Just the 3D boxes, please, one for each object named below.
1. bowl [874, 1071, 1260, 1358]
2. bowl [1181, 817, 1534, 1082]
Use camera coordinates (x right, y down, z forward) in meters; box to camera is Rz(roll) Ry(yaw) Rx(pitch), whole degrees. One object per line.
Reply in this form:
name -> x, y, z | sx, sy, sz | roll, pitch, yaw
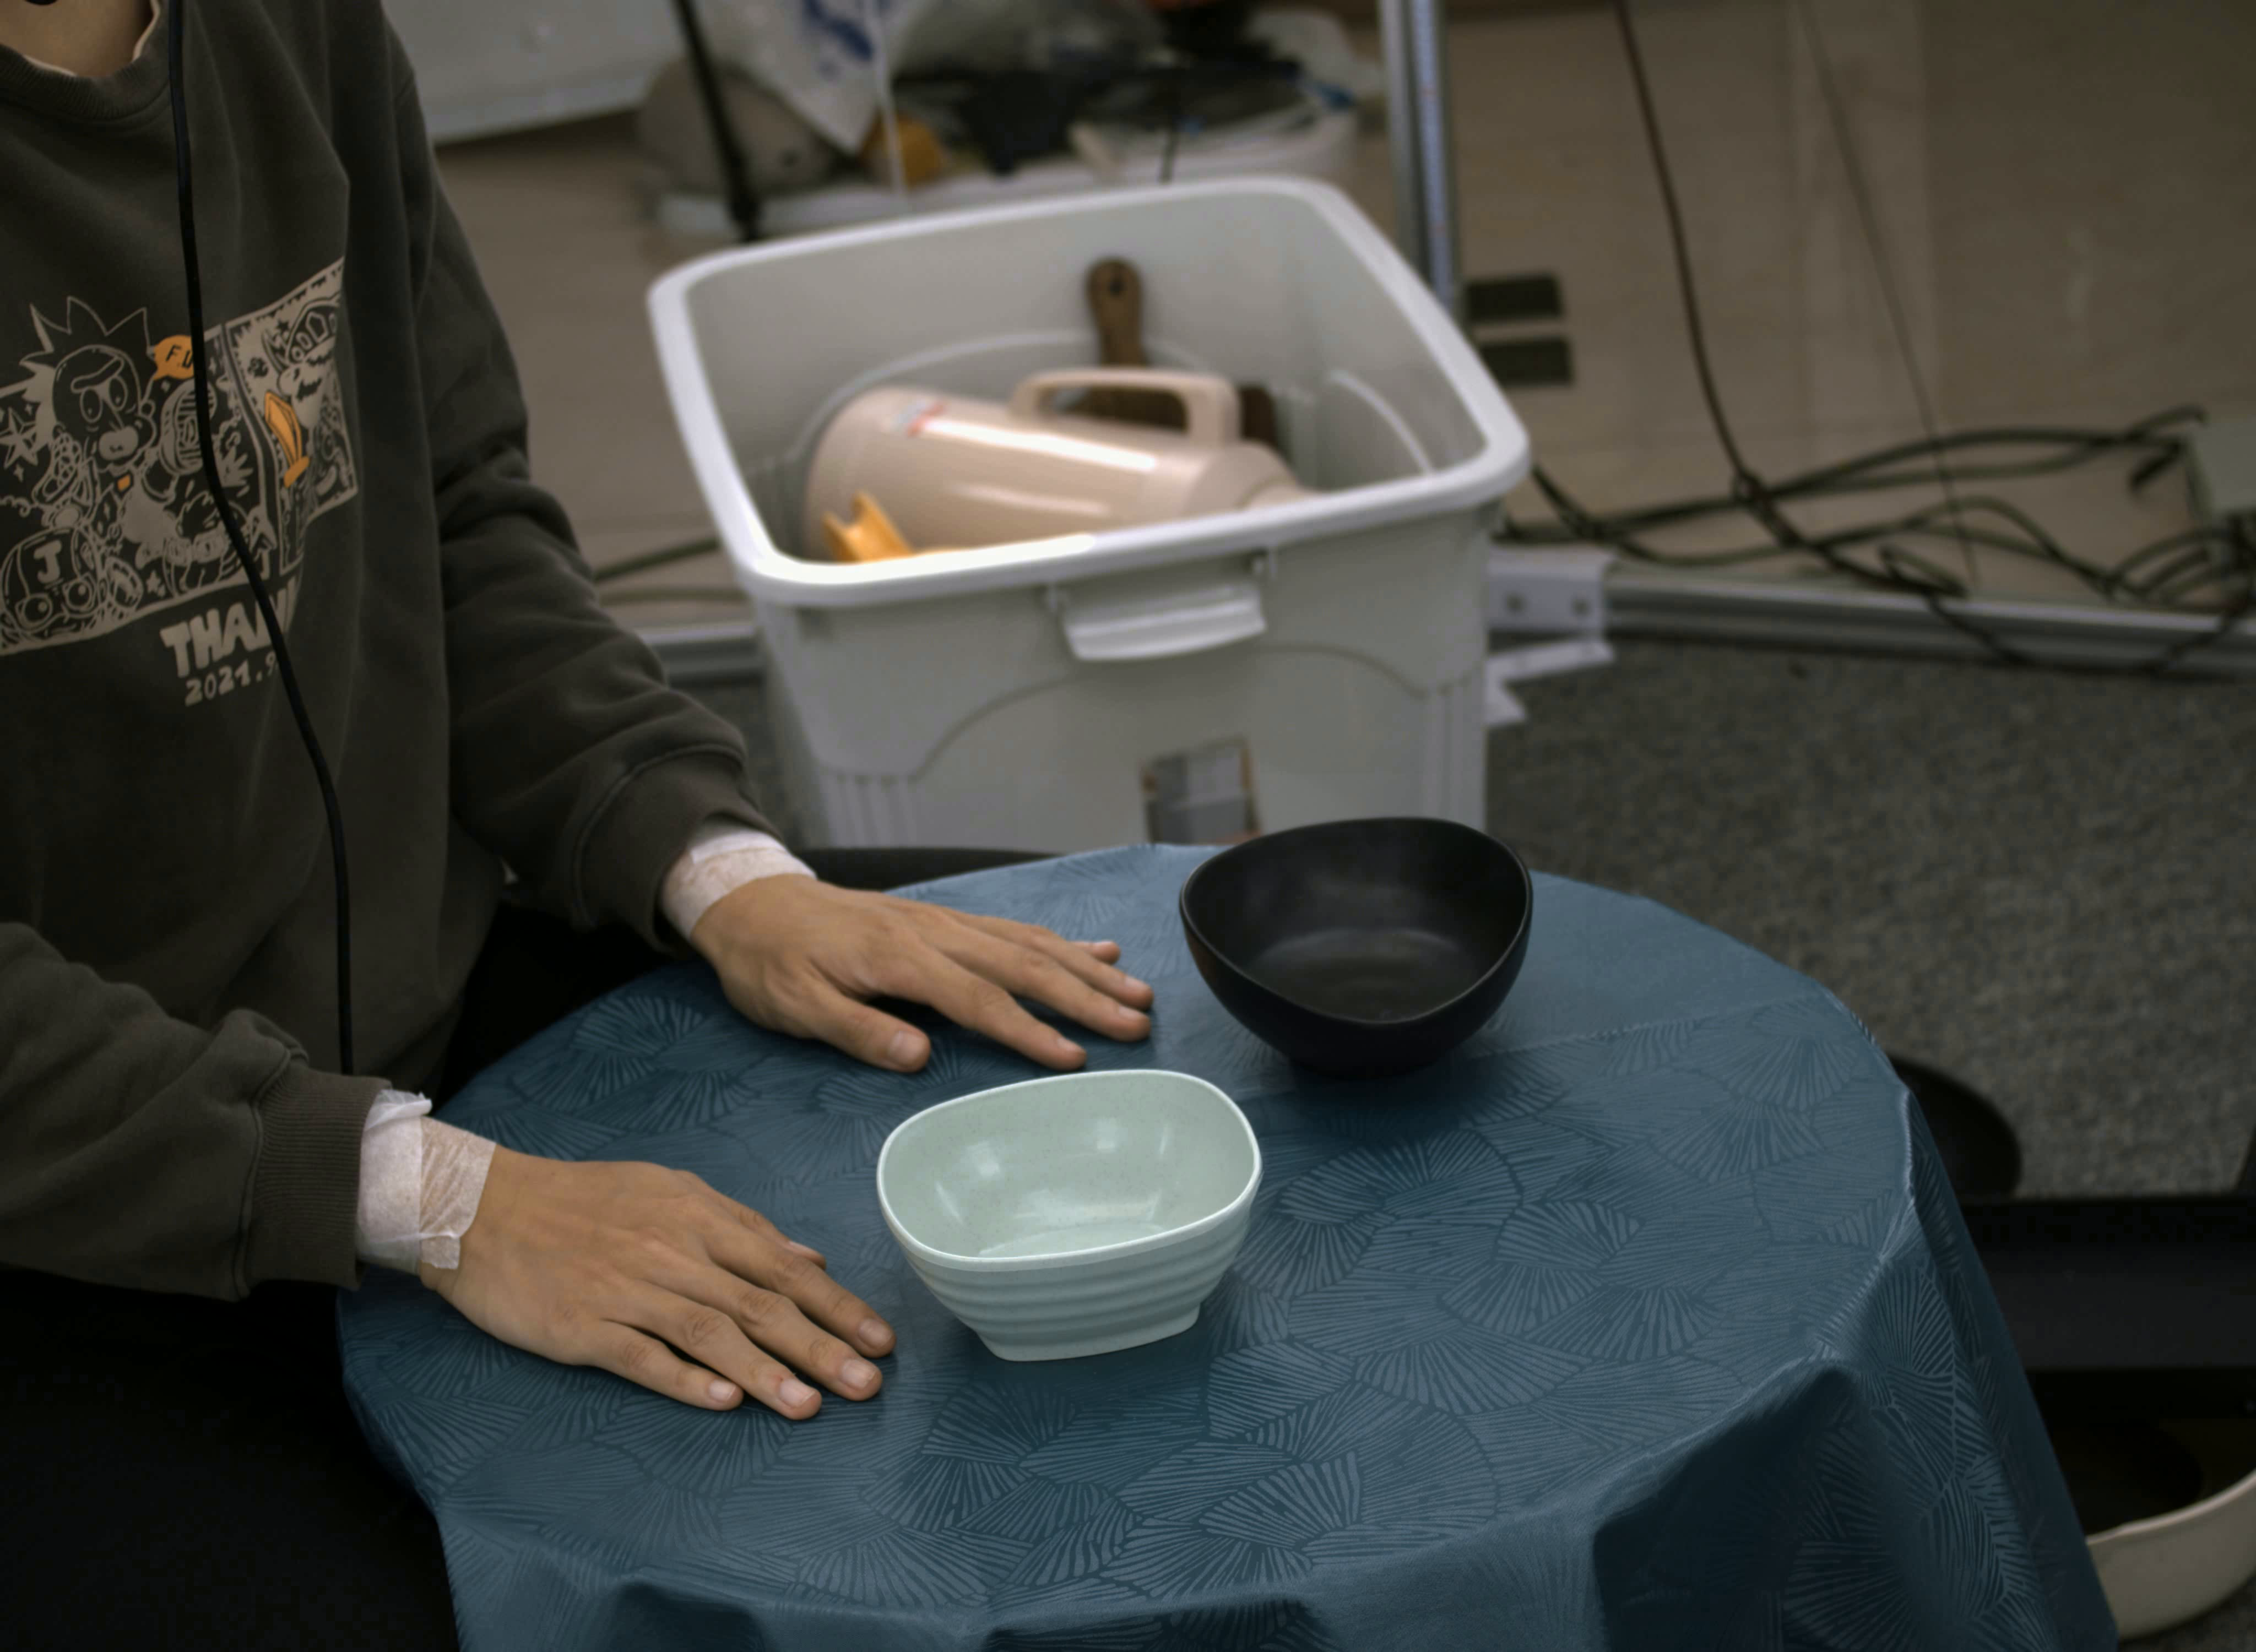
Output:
bowl -> -0.021, 0.147, 2.065 | 0.151, 0.059, 0.149 | -3, 25, 2
bowl -> 0.093, 0.056, 2.226 | 0.137, 0.068, 0.168 | -11, 27, -8
